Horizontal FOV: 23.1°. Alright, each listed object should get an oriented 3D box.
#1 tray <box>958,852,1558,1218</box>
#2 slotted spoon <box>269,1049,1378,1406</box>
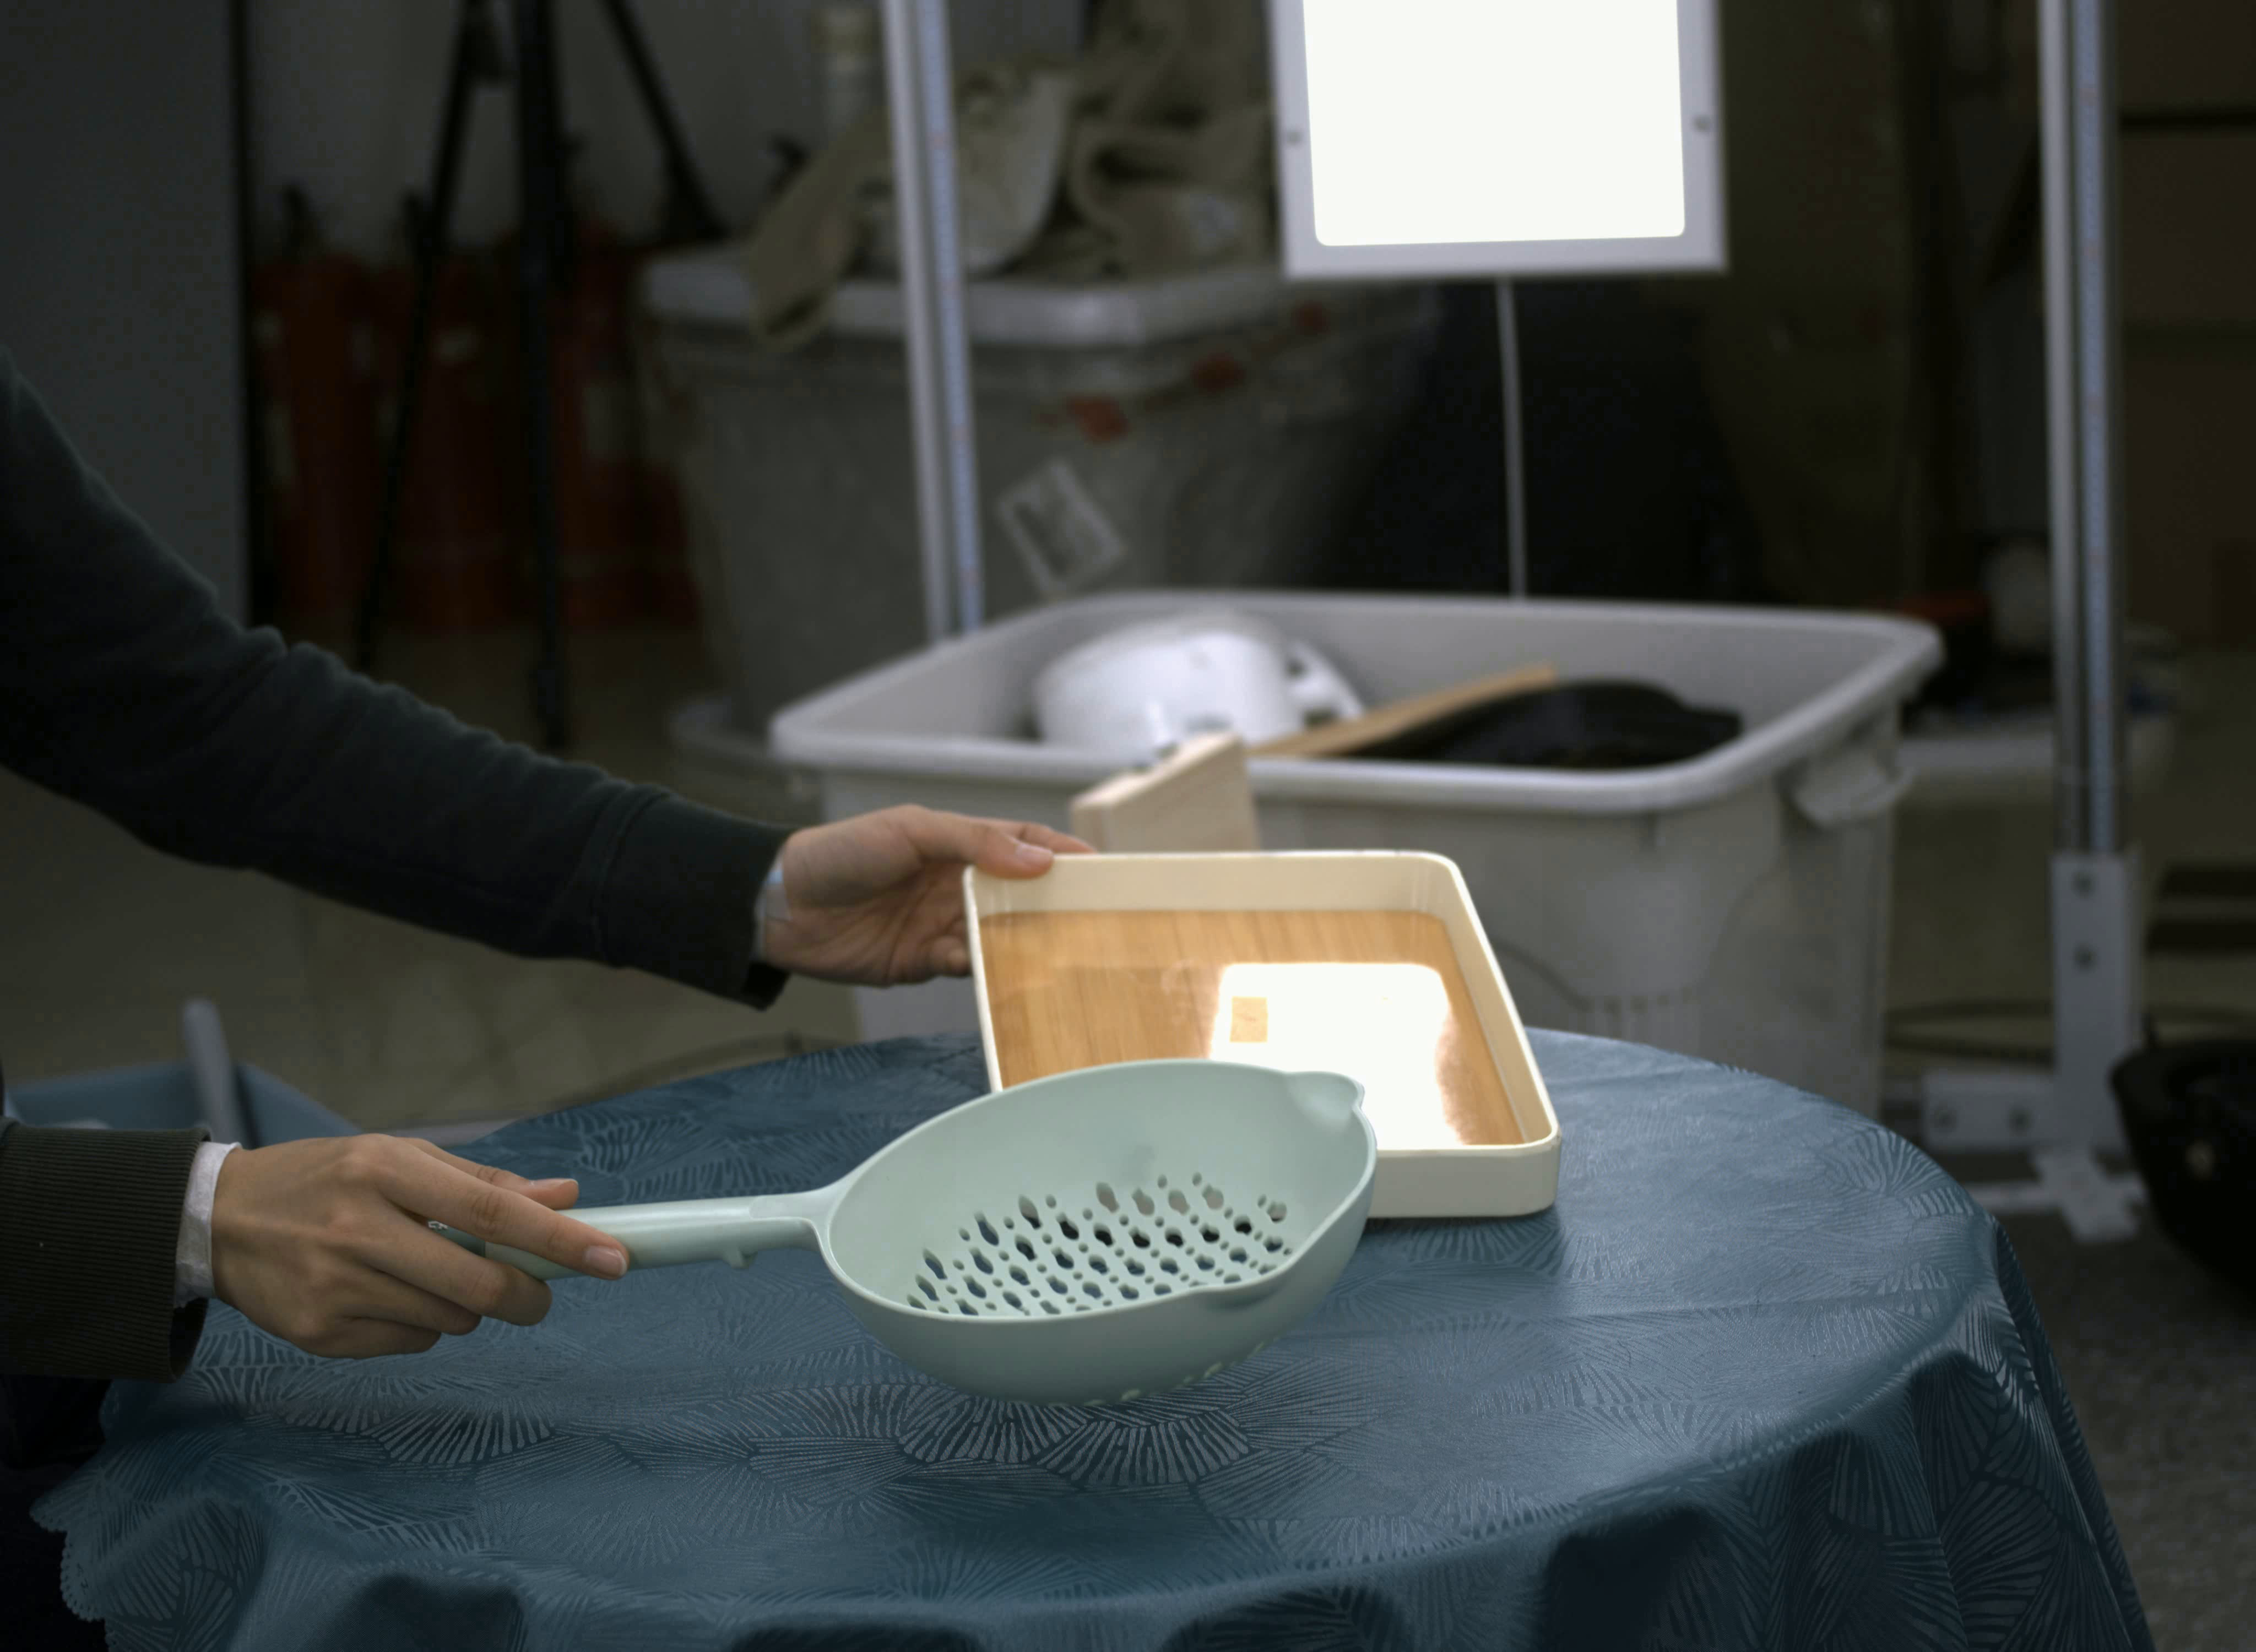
[{"bbox_3d":[0.040,0.071,1.961,0.190,0.027,0.300,-1,19,-3],"label":"tray"},{"bbox_3d":[-0.100,0.126,1.690,0.362,0.076,0.167,3,25,15],"label":"slotted spoon"}]
